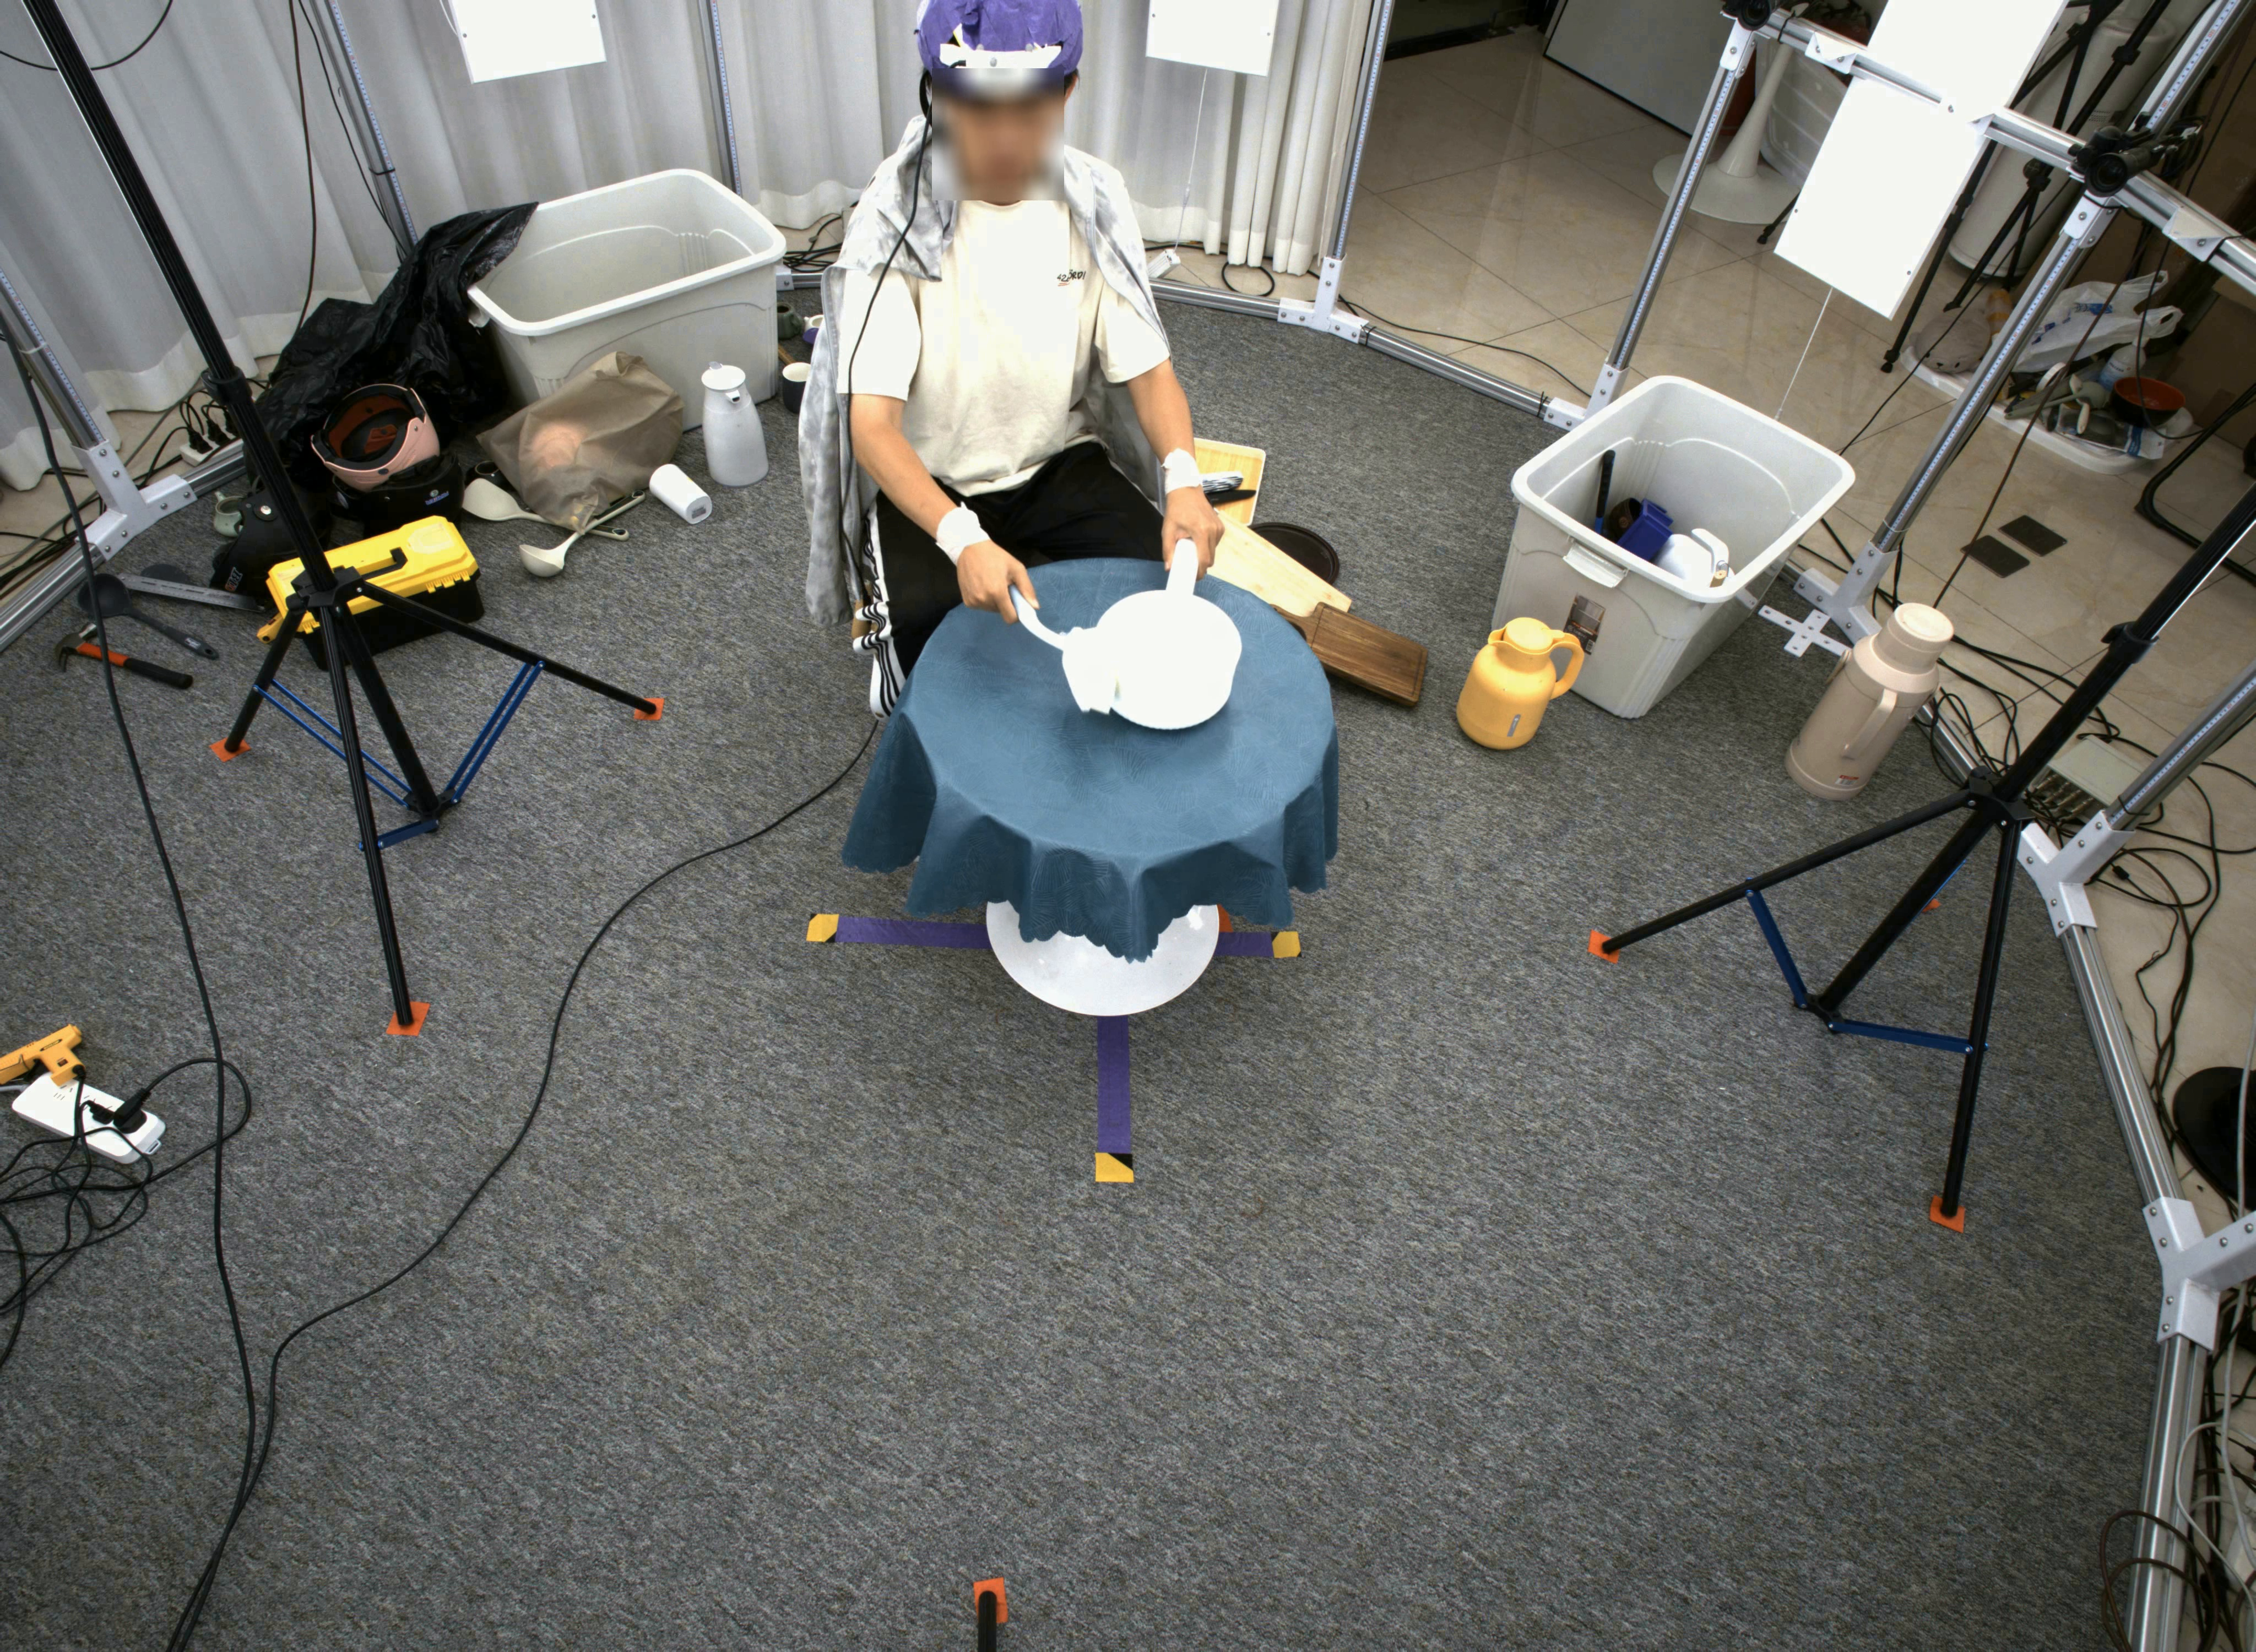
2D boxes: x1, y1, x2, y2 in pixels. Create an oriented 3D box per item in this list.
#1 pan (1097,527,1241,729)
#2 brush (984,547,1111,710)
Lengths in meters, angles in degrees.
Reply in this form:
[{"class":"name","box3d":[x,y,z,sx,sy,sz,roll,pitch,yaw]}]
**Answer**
[{"class":"pan","box3d":[0.065,-0.286,1.848,0.201,0.099,0.363,9,49,4]},{"class":"brush","box3d":[-0.096,-0.283,1.779,0.082,0.083,0.332,-40,57,14]}]
